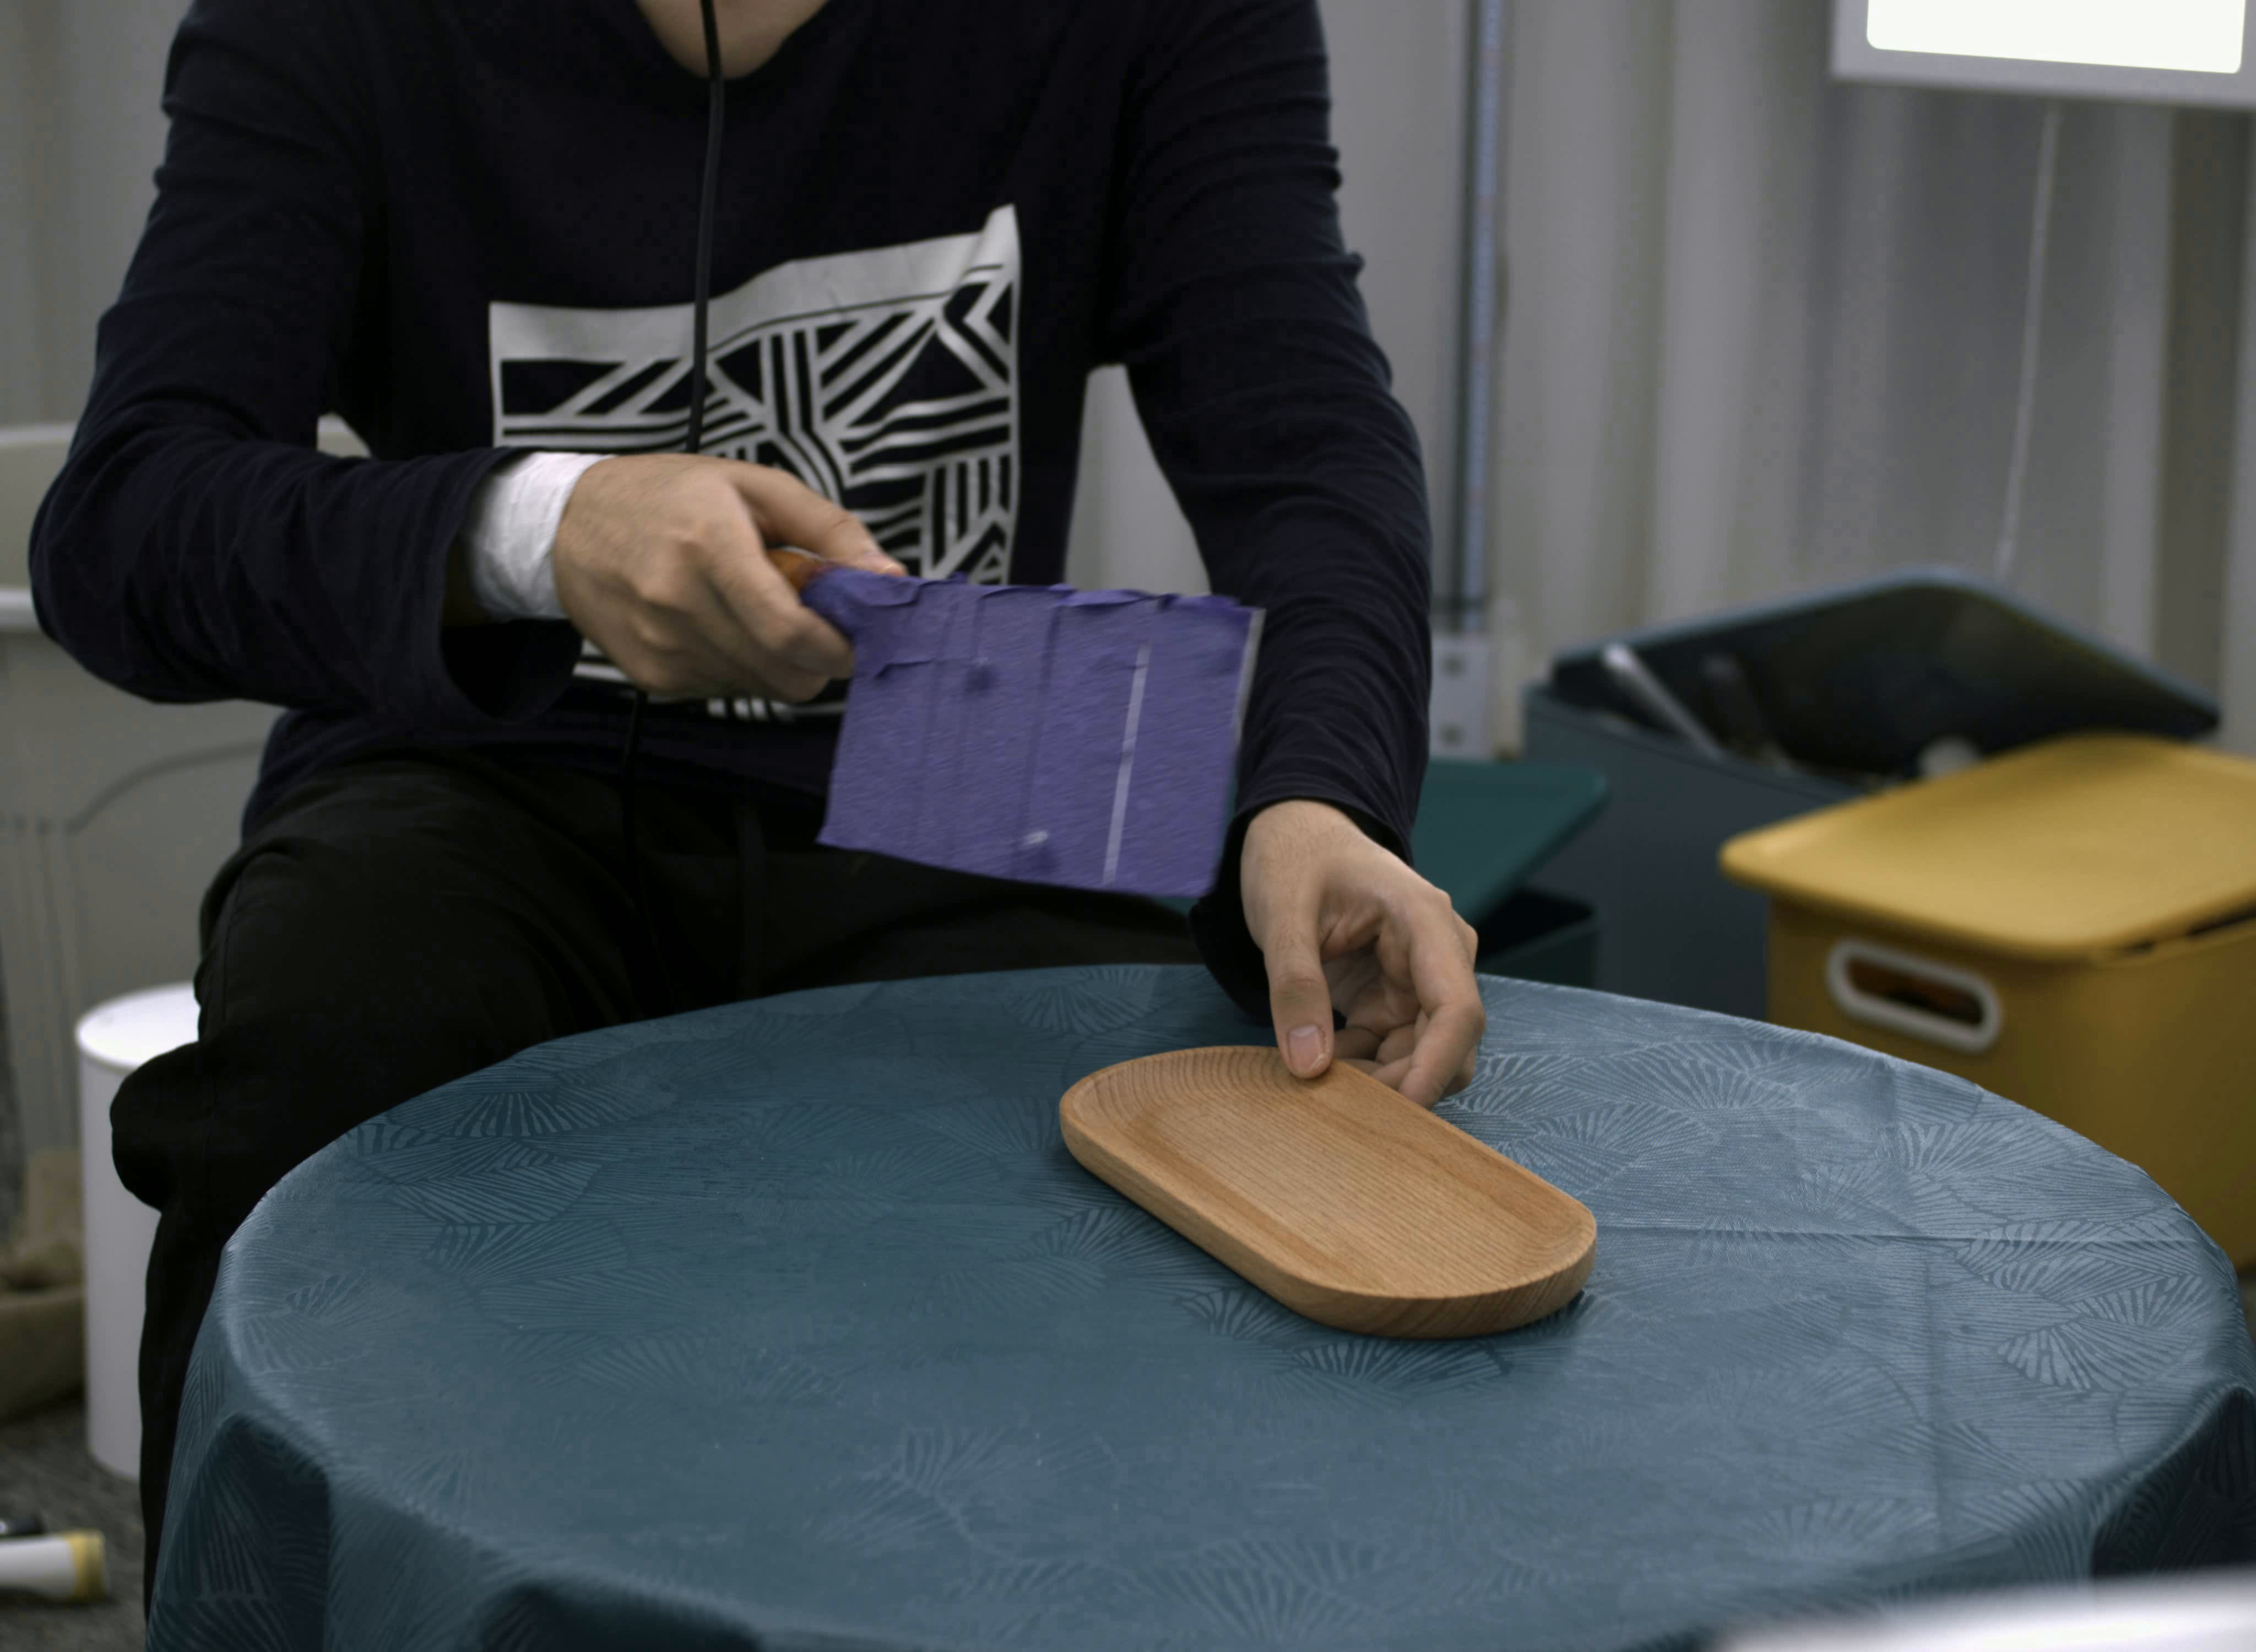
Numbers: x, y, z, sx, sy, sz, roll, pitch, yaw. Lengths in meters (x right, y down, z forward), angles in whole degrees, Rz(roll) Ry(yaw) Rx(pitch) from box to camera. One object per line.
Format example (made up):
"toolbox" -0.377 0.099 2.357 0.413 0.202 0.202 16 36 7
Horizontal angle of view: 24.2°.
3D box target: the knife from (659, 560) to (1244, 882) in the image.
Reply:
"knife" -0.066 -0.036 1.655 0.032 0.104 0.312 13 -4 -34

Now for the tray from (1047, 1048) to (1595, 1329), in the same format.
"tray" 0.056 0.108 1.603 0.102 0.020 0.228 -10 17 -27
